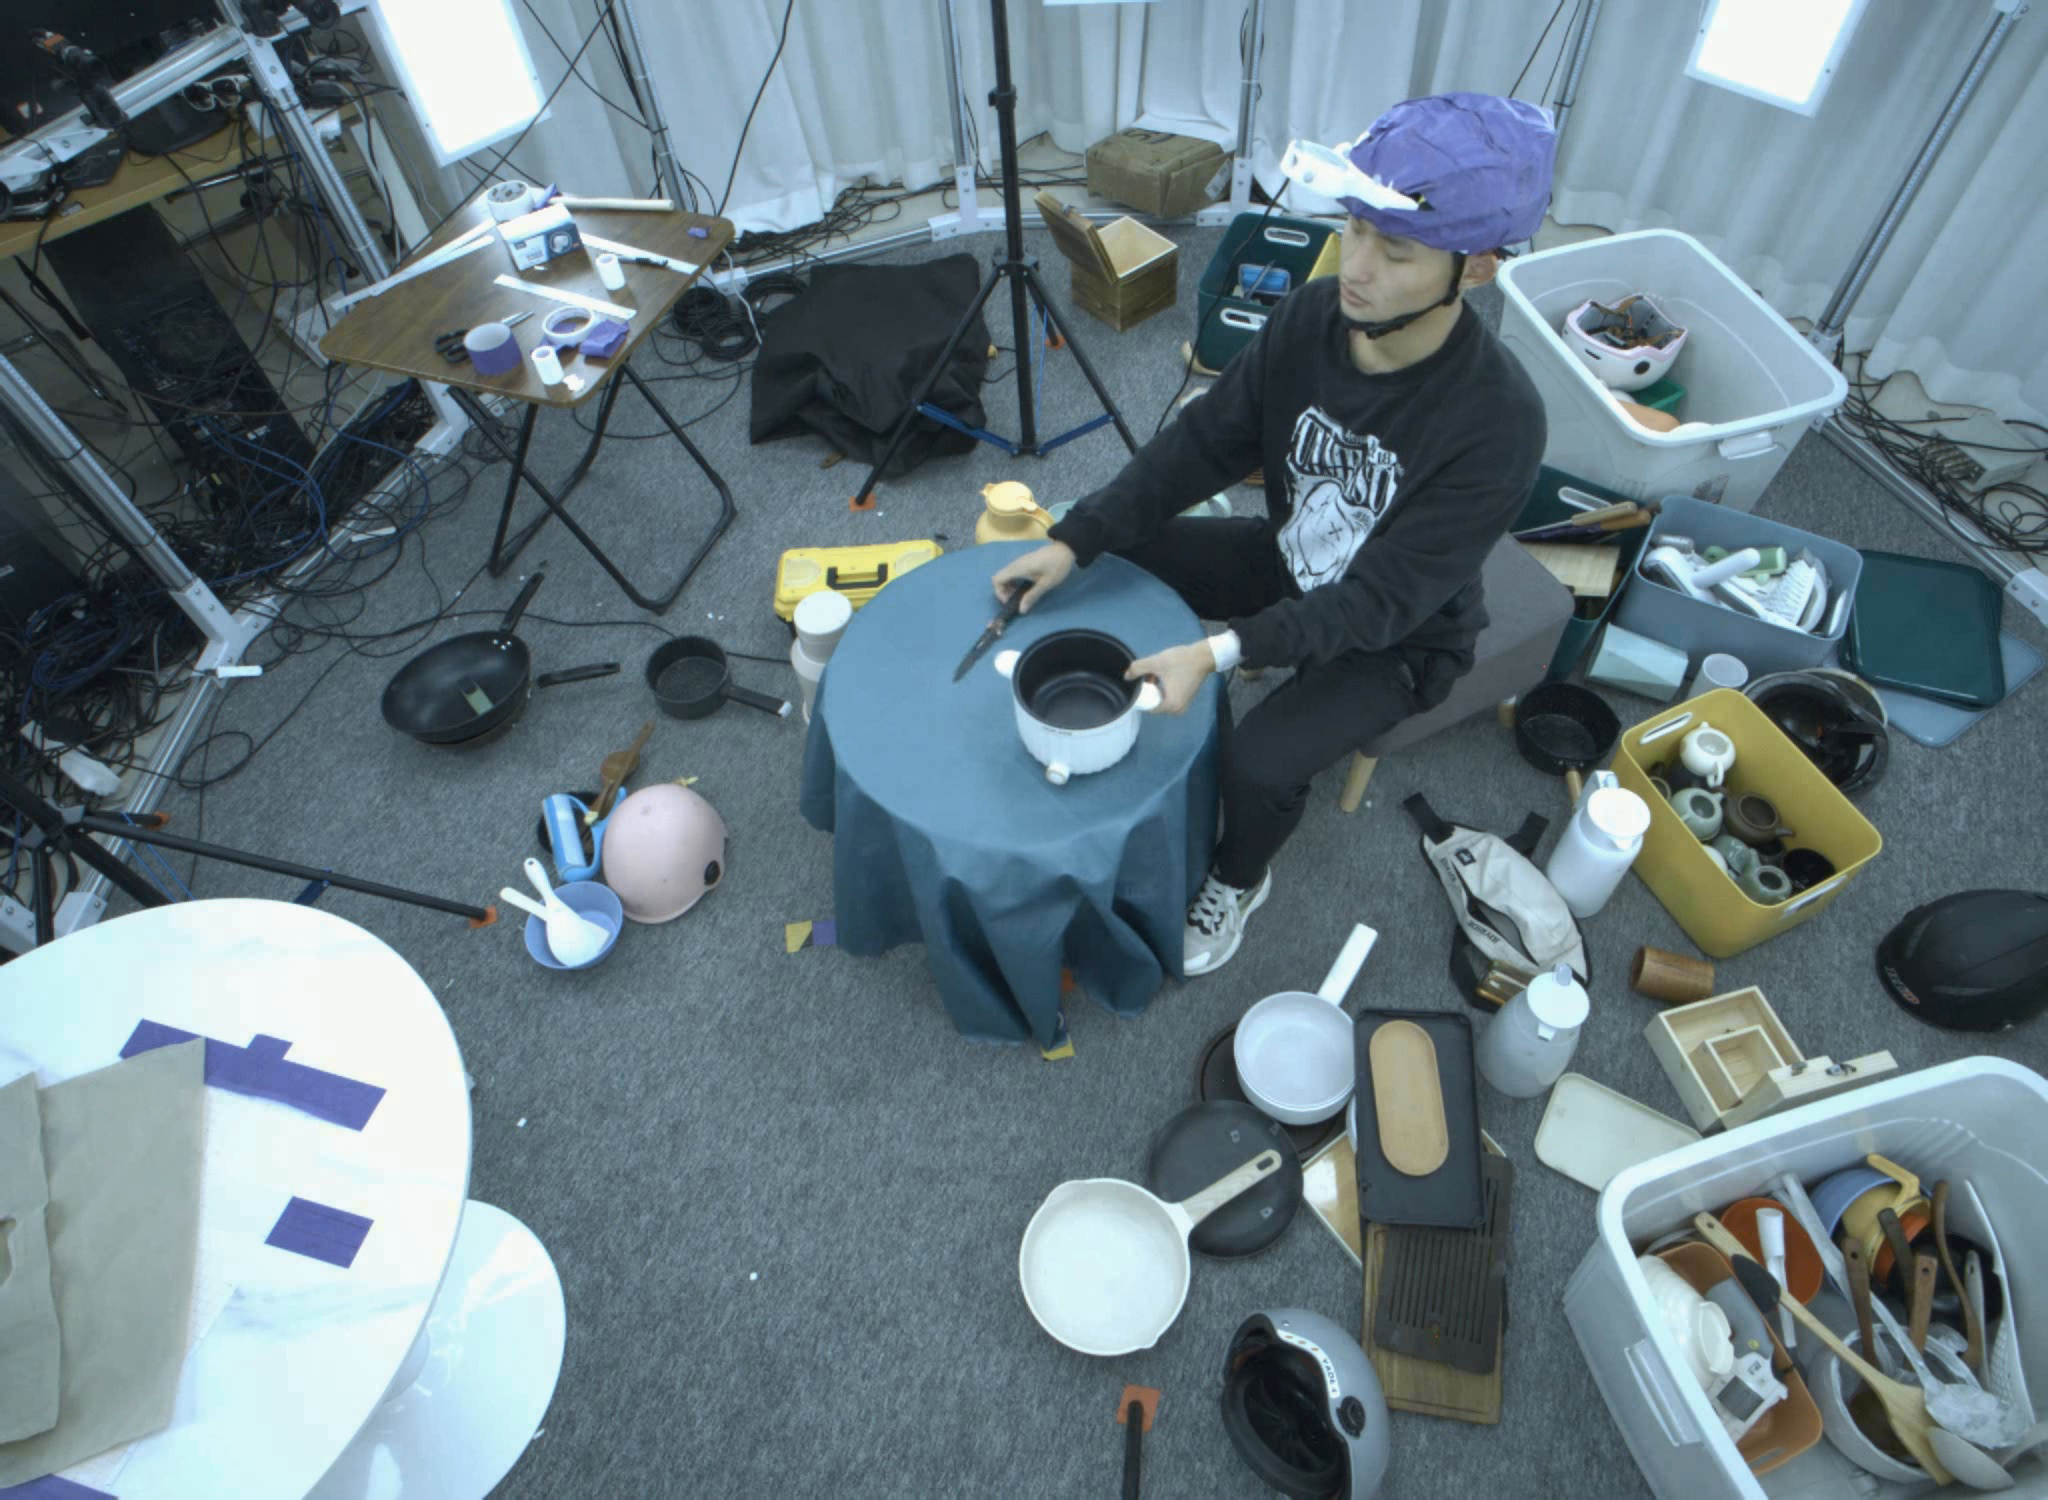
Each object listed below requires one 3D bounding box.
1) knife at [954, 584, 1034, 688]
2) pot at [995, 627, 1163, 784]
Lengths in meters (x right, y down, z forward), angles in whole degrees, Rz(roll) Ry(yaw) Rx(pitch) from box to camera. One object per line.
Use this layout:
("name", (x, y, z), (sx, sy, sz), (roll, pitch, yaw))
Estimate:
("knife", (-0.049, -0.179, 1.905), (0.026, 0.017, 0.226), (43, 63, -11))
("pot", (0.077, -0.058, 1.736), (0.238, 0.144, 0.190), (13, 53, 13))
